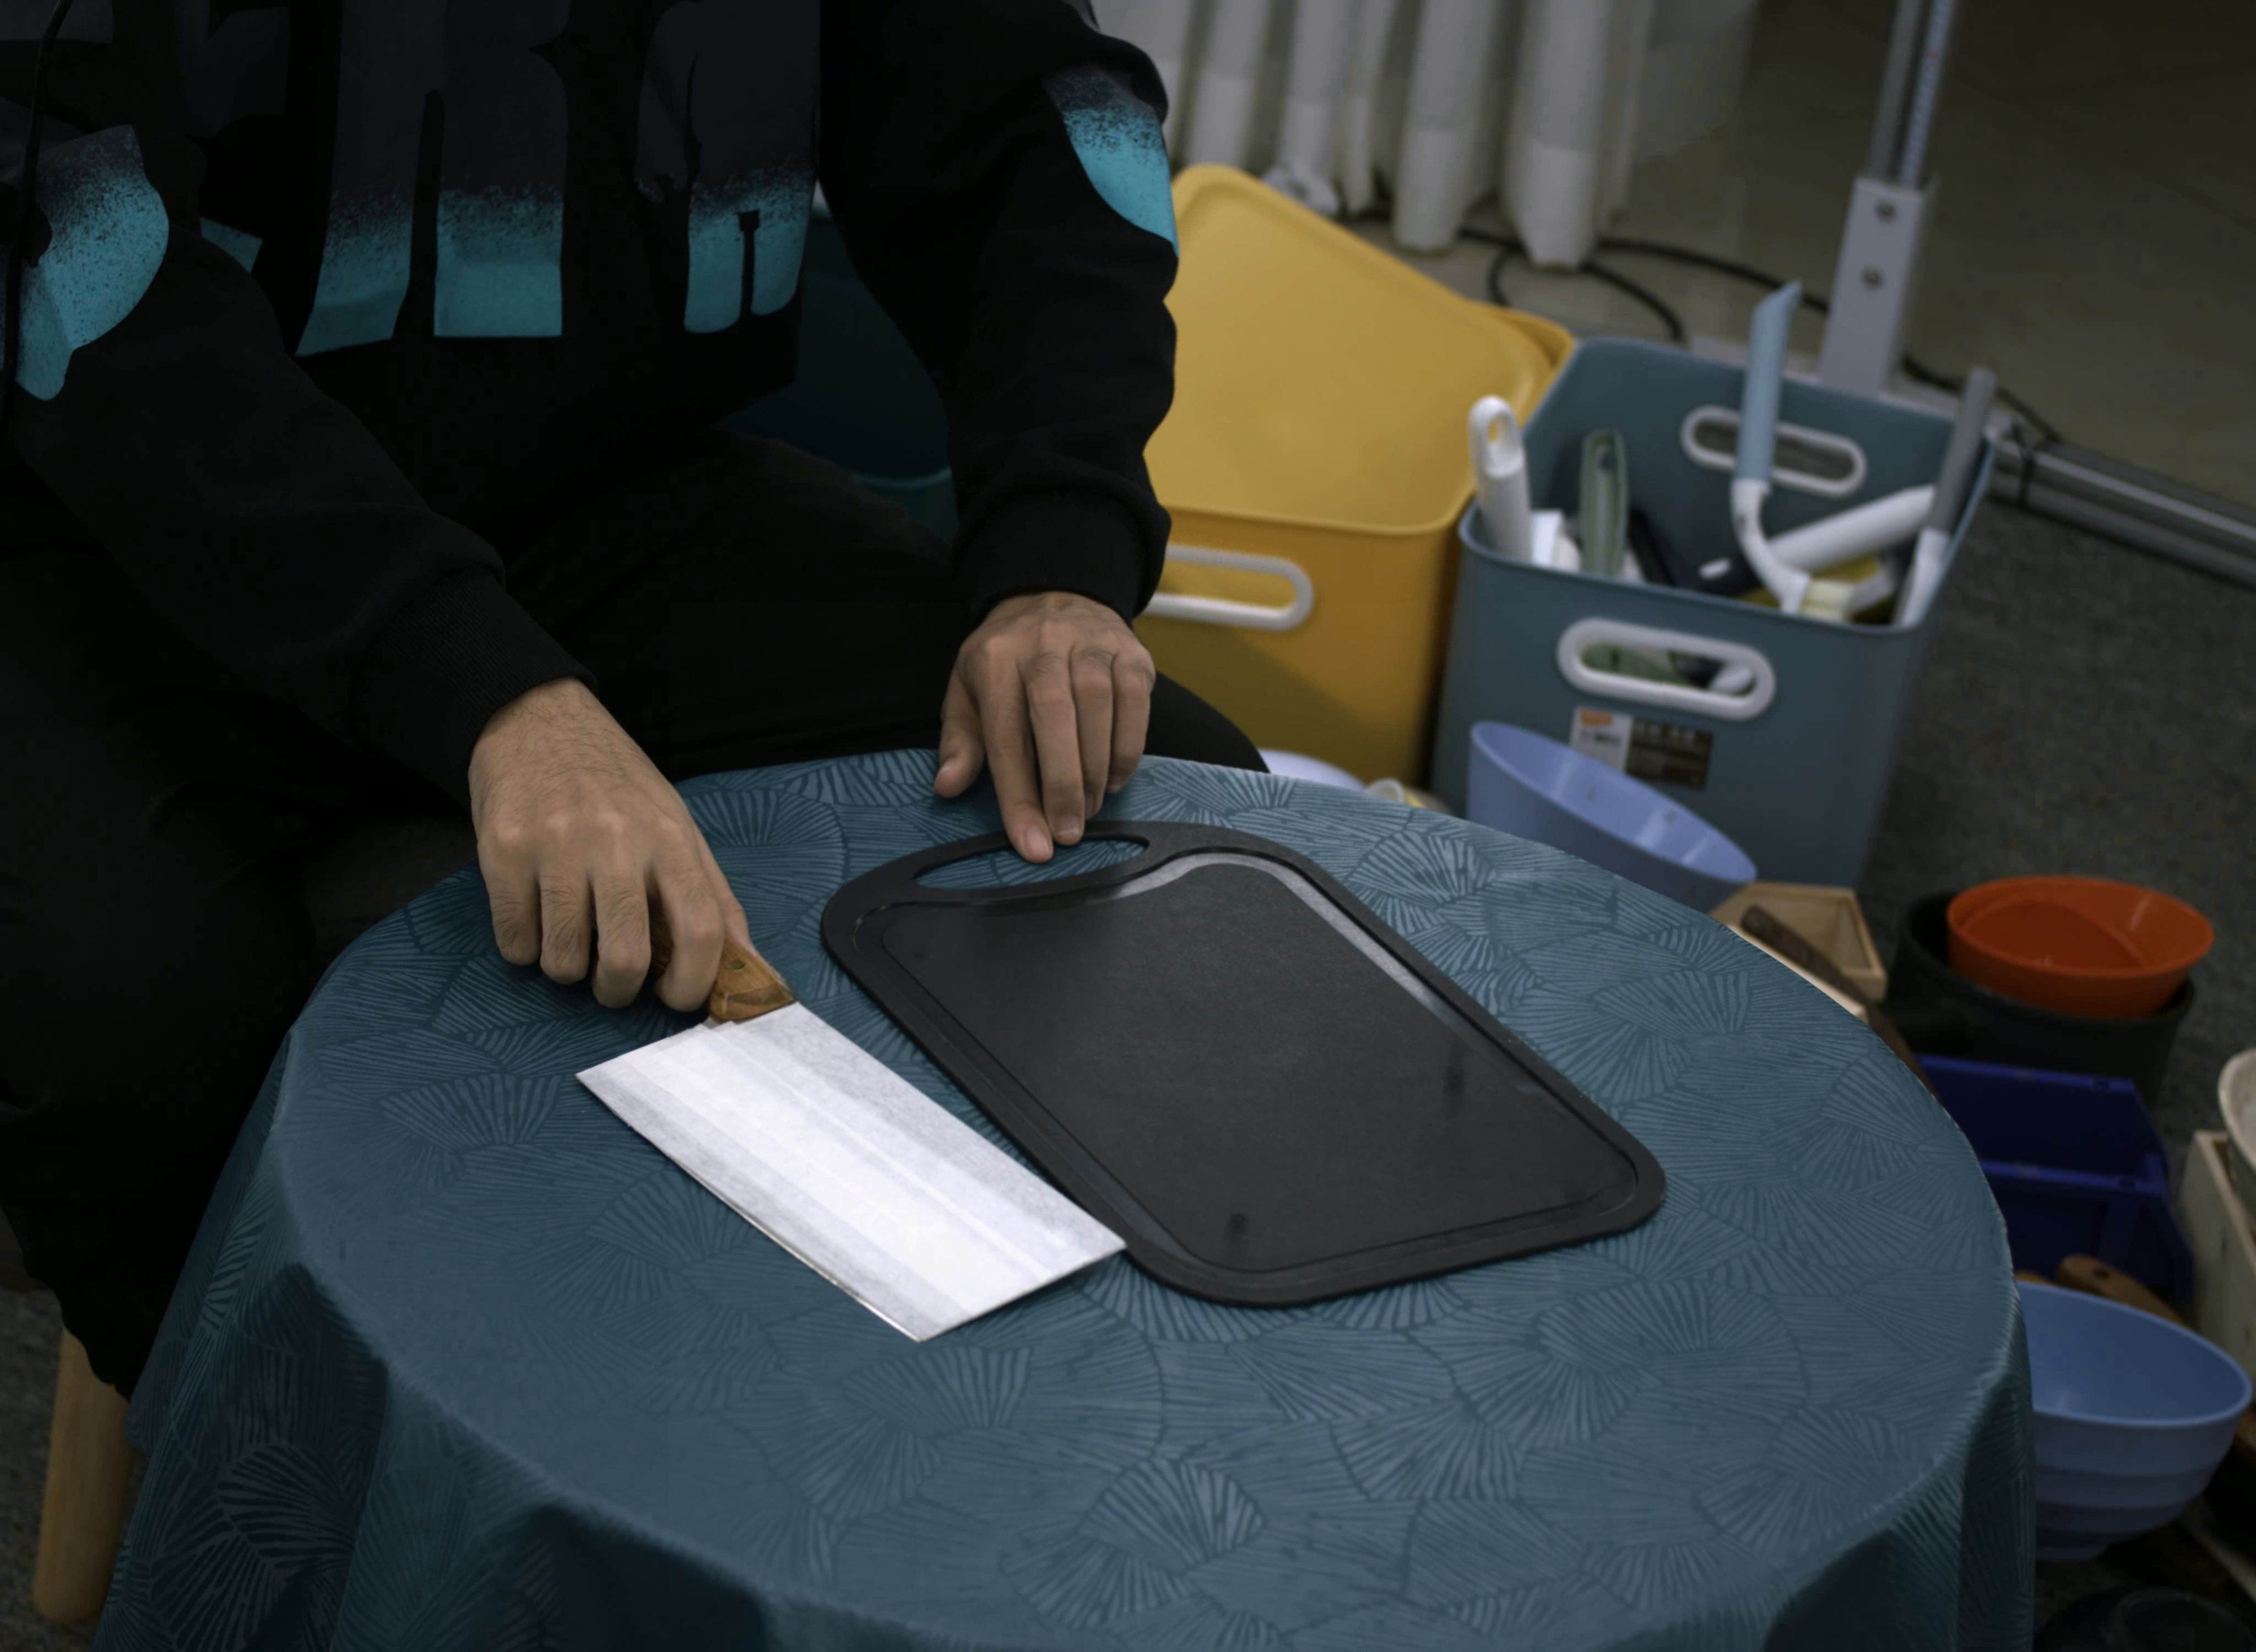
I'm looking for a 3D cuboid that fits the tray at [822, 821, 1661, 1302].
[{"bbox_3d":[0.032,0.075,1.898,0.210,0.010,0.328,-9,31,-28],"label":"tray"}]

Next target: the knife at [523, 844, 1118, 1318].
[{"bbox_3d":[-0.130,0.087,1.829,0.092,0.021,0.308,-22,39,-34],"label":"knife"}]
